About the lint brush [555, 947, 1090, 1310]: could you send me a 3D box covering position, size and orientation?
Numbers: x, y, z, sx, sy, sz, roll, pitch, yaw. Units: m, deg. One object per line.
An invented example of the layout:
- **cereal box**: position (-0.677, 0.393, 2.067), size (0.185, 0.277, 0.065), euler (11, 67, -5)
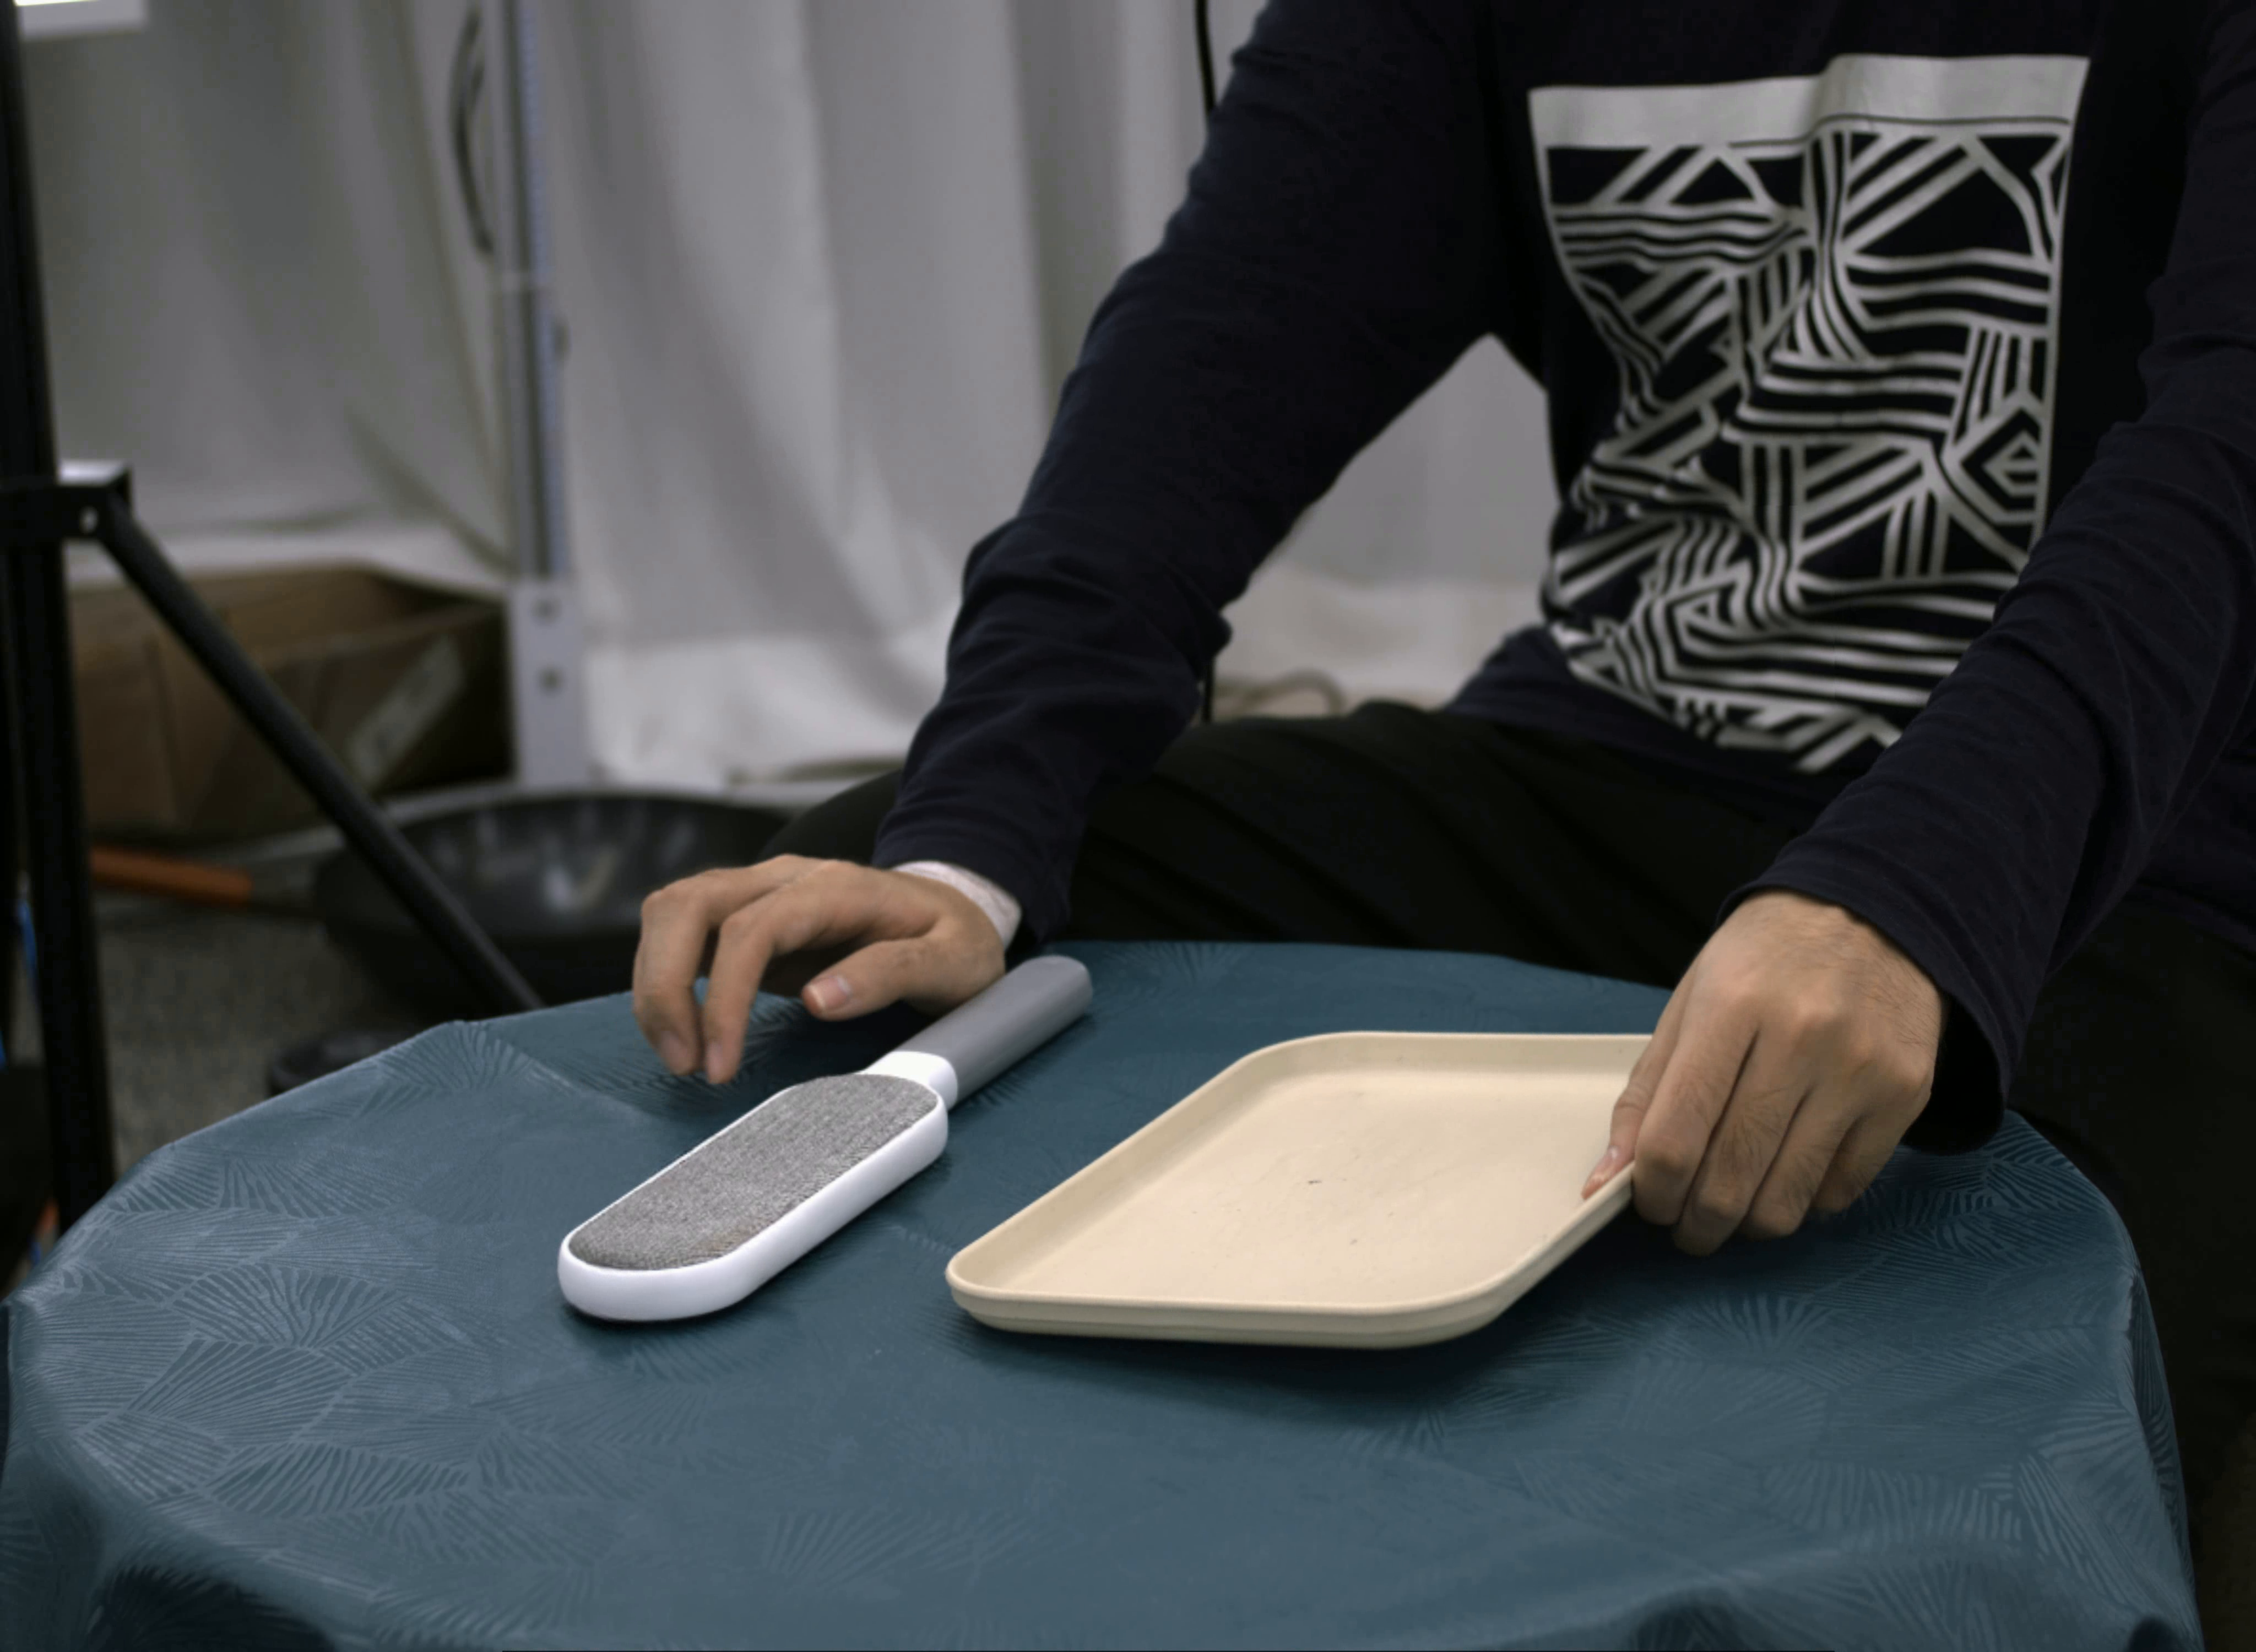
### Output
- **lint brush**: position (-0.081, 0.087, 1.598), size (0.061, 0.021, 0.304), euler (-1, 15, 25)

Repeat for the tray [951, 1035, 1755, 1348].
- **tray**: position (0.069, 0.103, 1.510), size (0.174, 0.017, 0.236), euler (-2, 15, 29)
